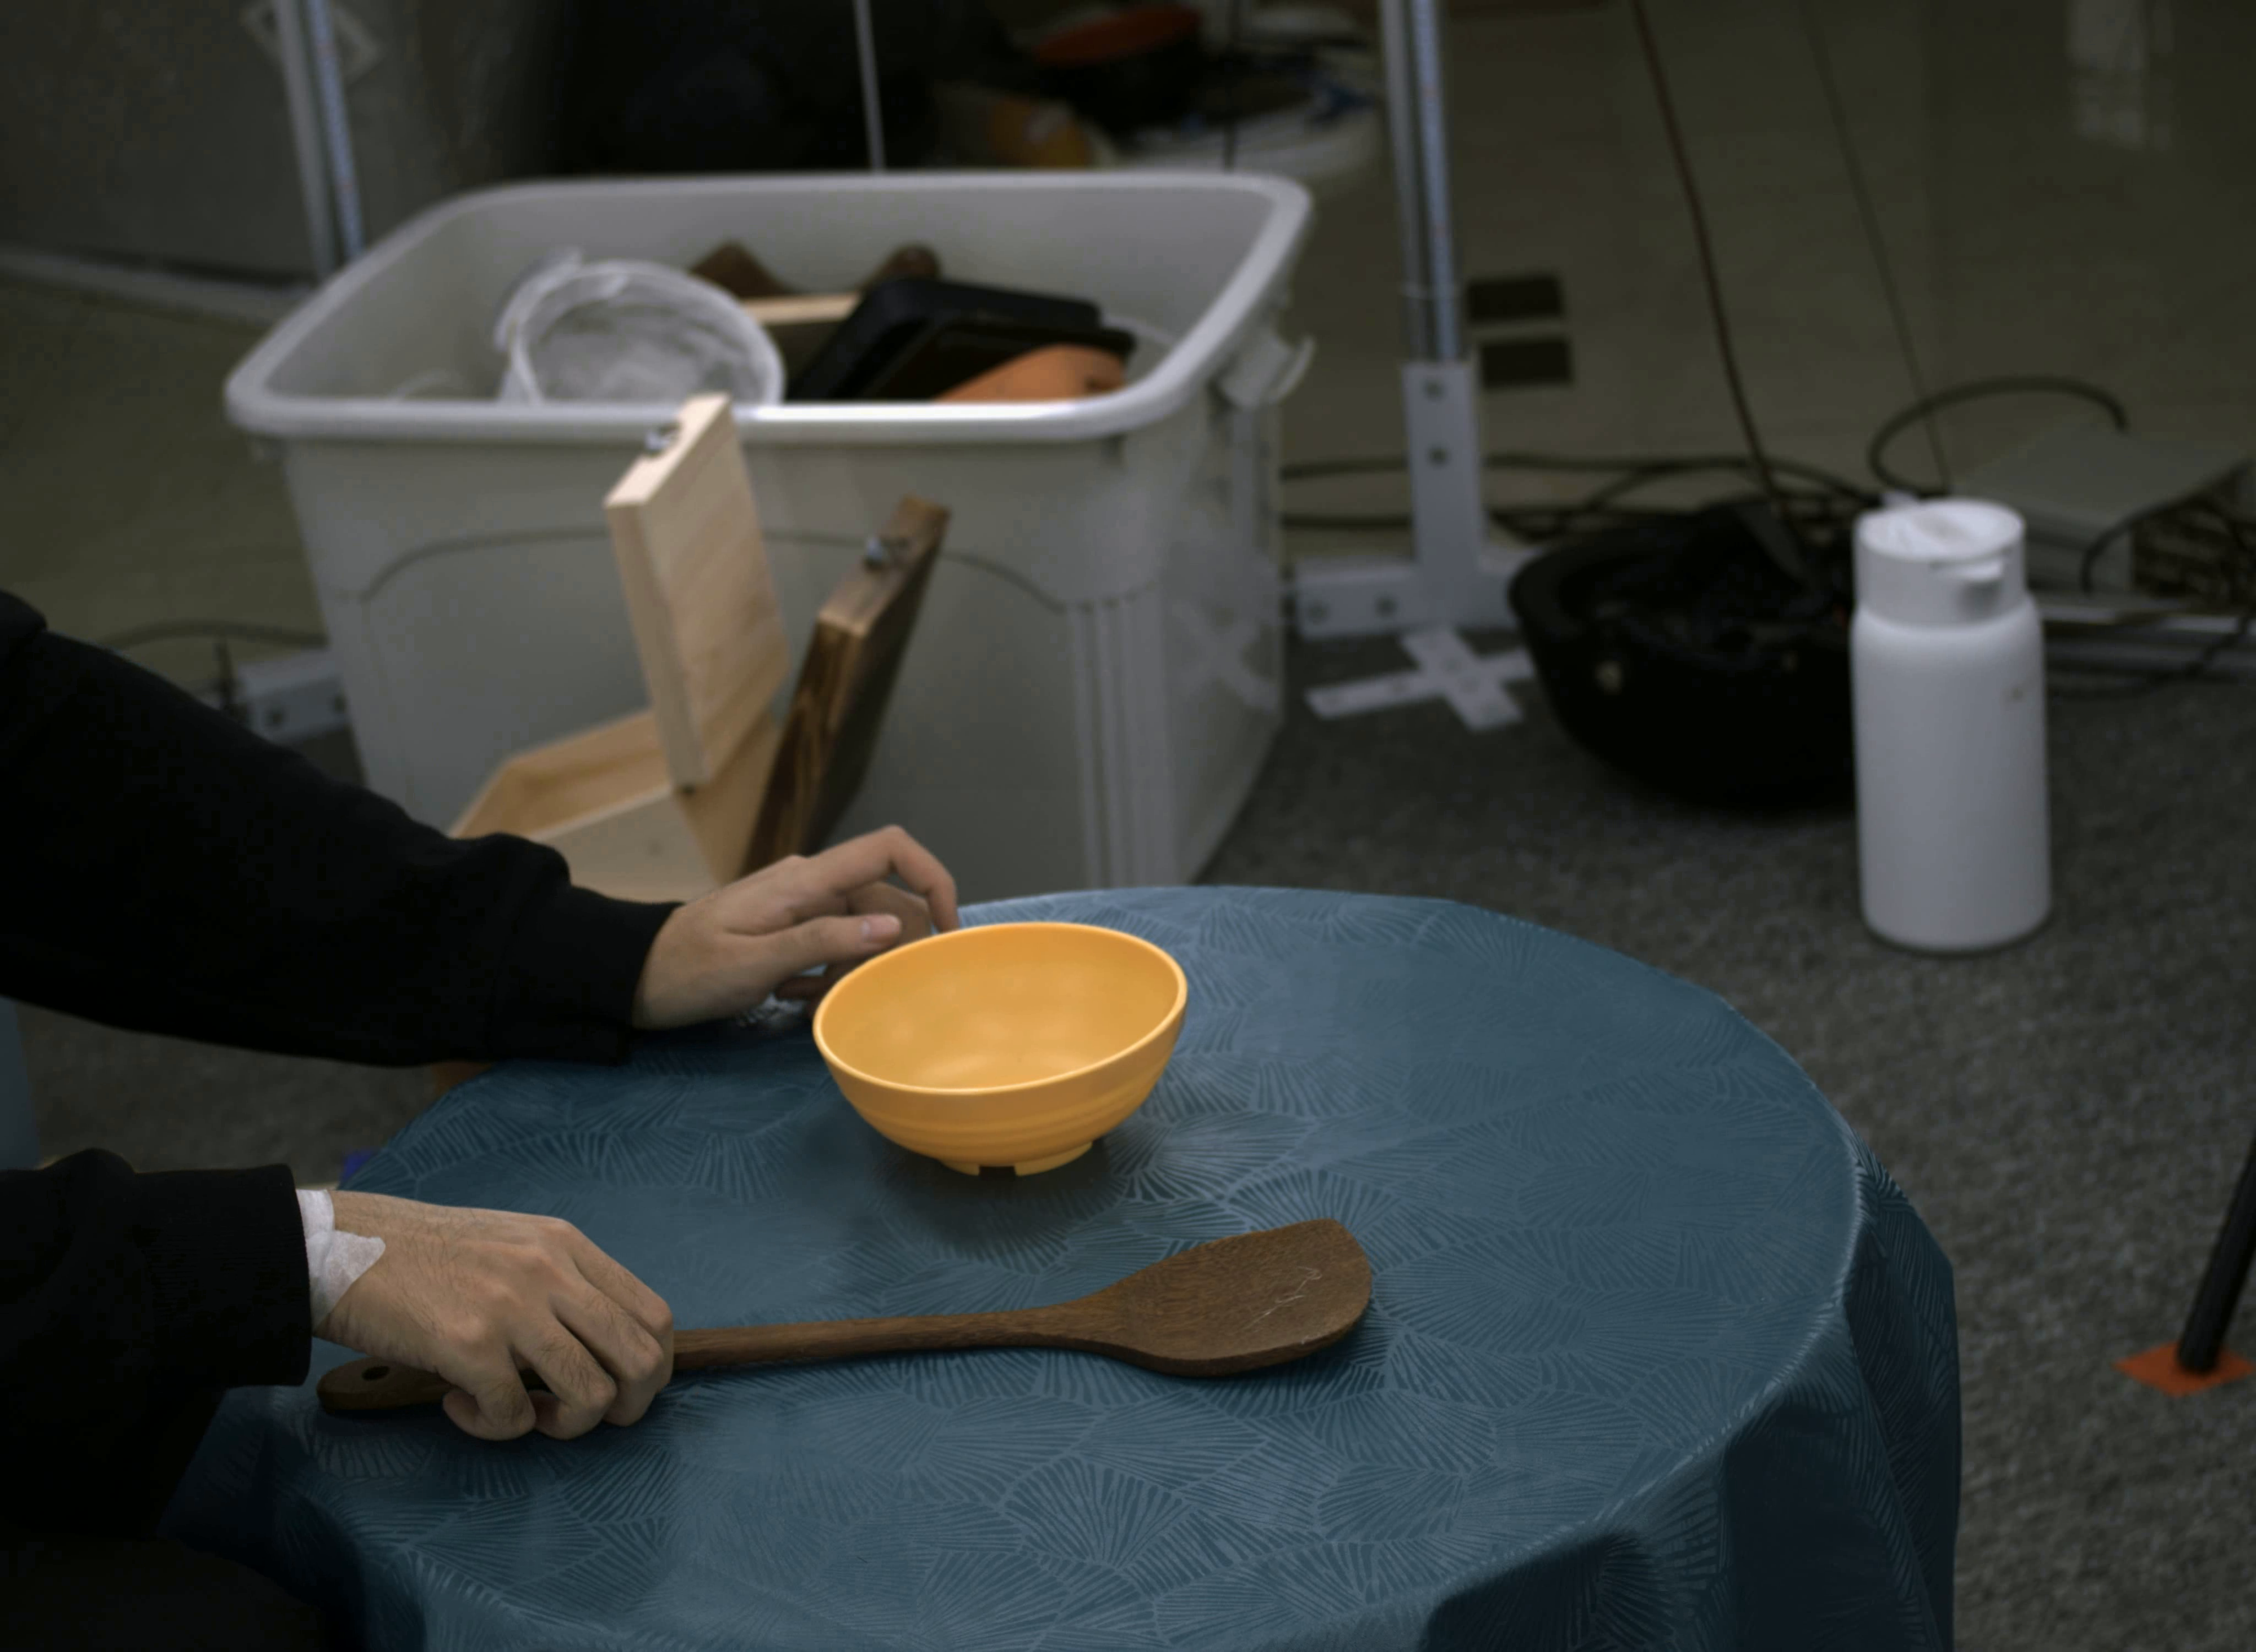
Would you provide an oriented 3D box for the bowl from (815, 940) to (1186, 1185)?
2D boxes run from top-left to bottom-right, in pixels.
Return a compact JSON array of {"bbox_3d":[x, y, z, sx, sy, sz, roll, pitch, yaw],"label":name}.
[{"bbox_3d":[-0.046,0.098,2.187,0.145,0.061,0.143,-6,22,3],"label":"bowl"}]

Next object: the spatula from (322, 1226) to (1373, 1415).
[{"bbox_3d":[-0.103,0.186,2.060,0.385,0.016,0.095,-5,24,3],"label":"spatula"}]
